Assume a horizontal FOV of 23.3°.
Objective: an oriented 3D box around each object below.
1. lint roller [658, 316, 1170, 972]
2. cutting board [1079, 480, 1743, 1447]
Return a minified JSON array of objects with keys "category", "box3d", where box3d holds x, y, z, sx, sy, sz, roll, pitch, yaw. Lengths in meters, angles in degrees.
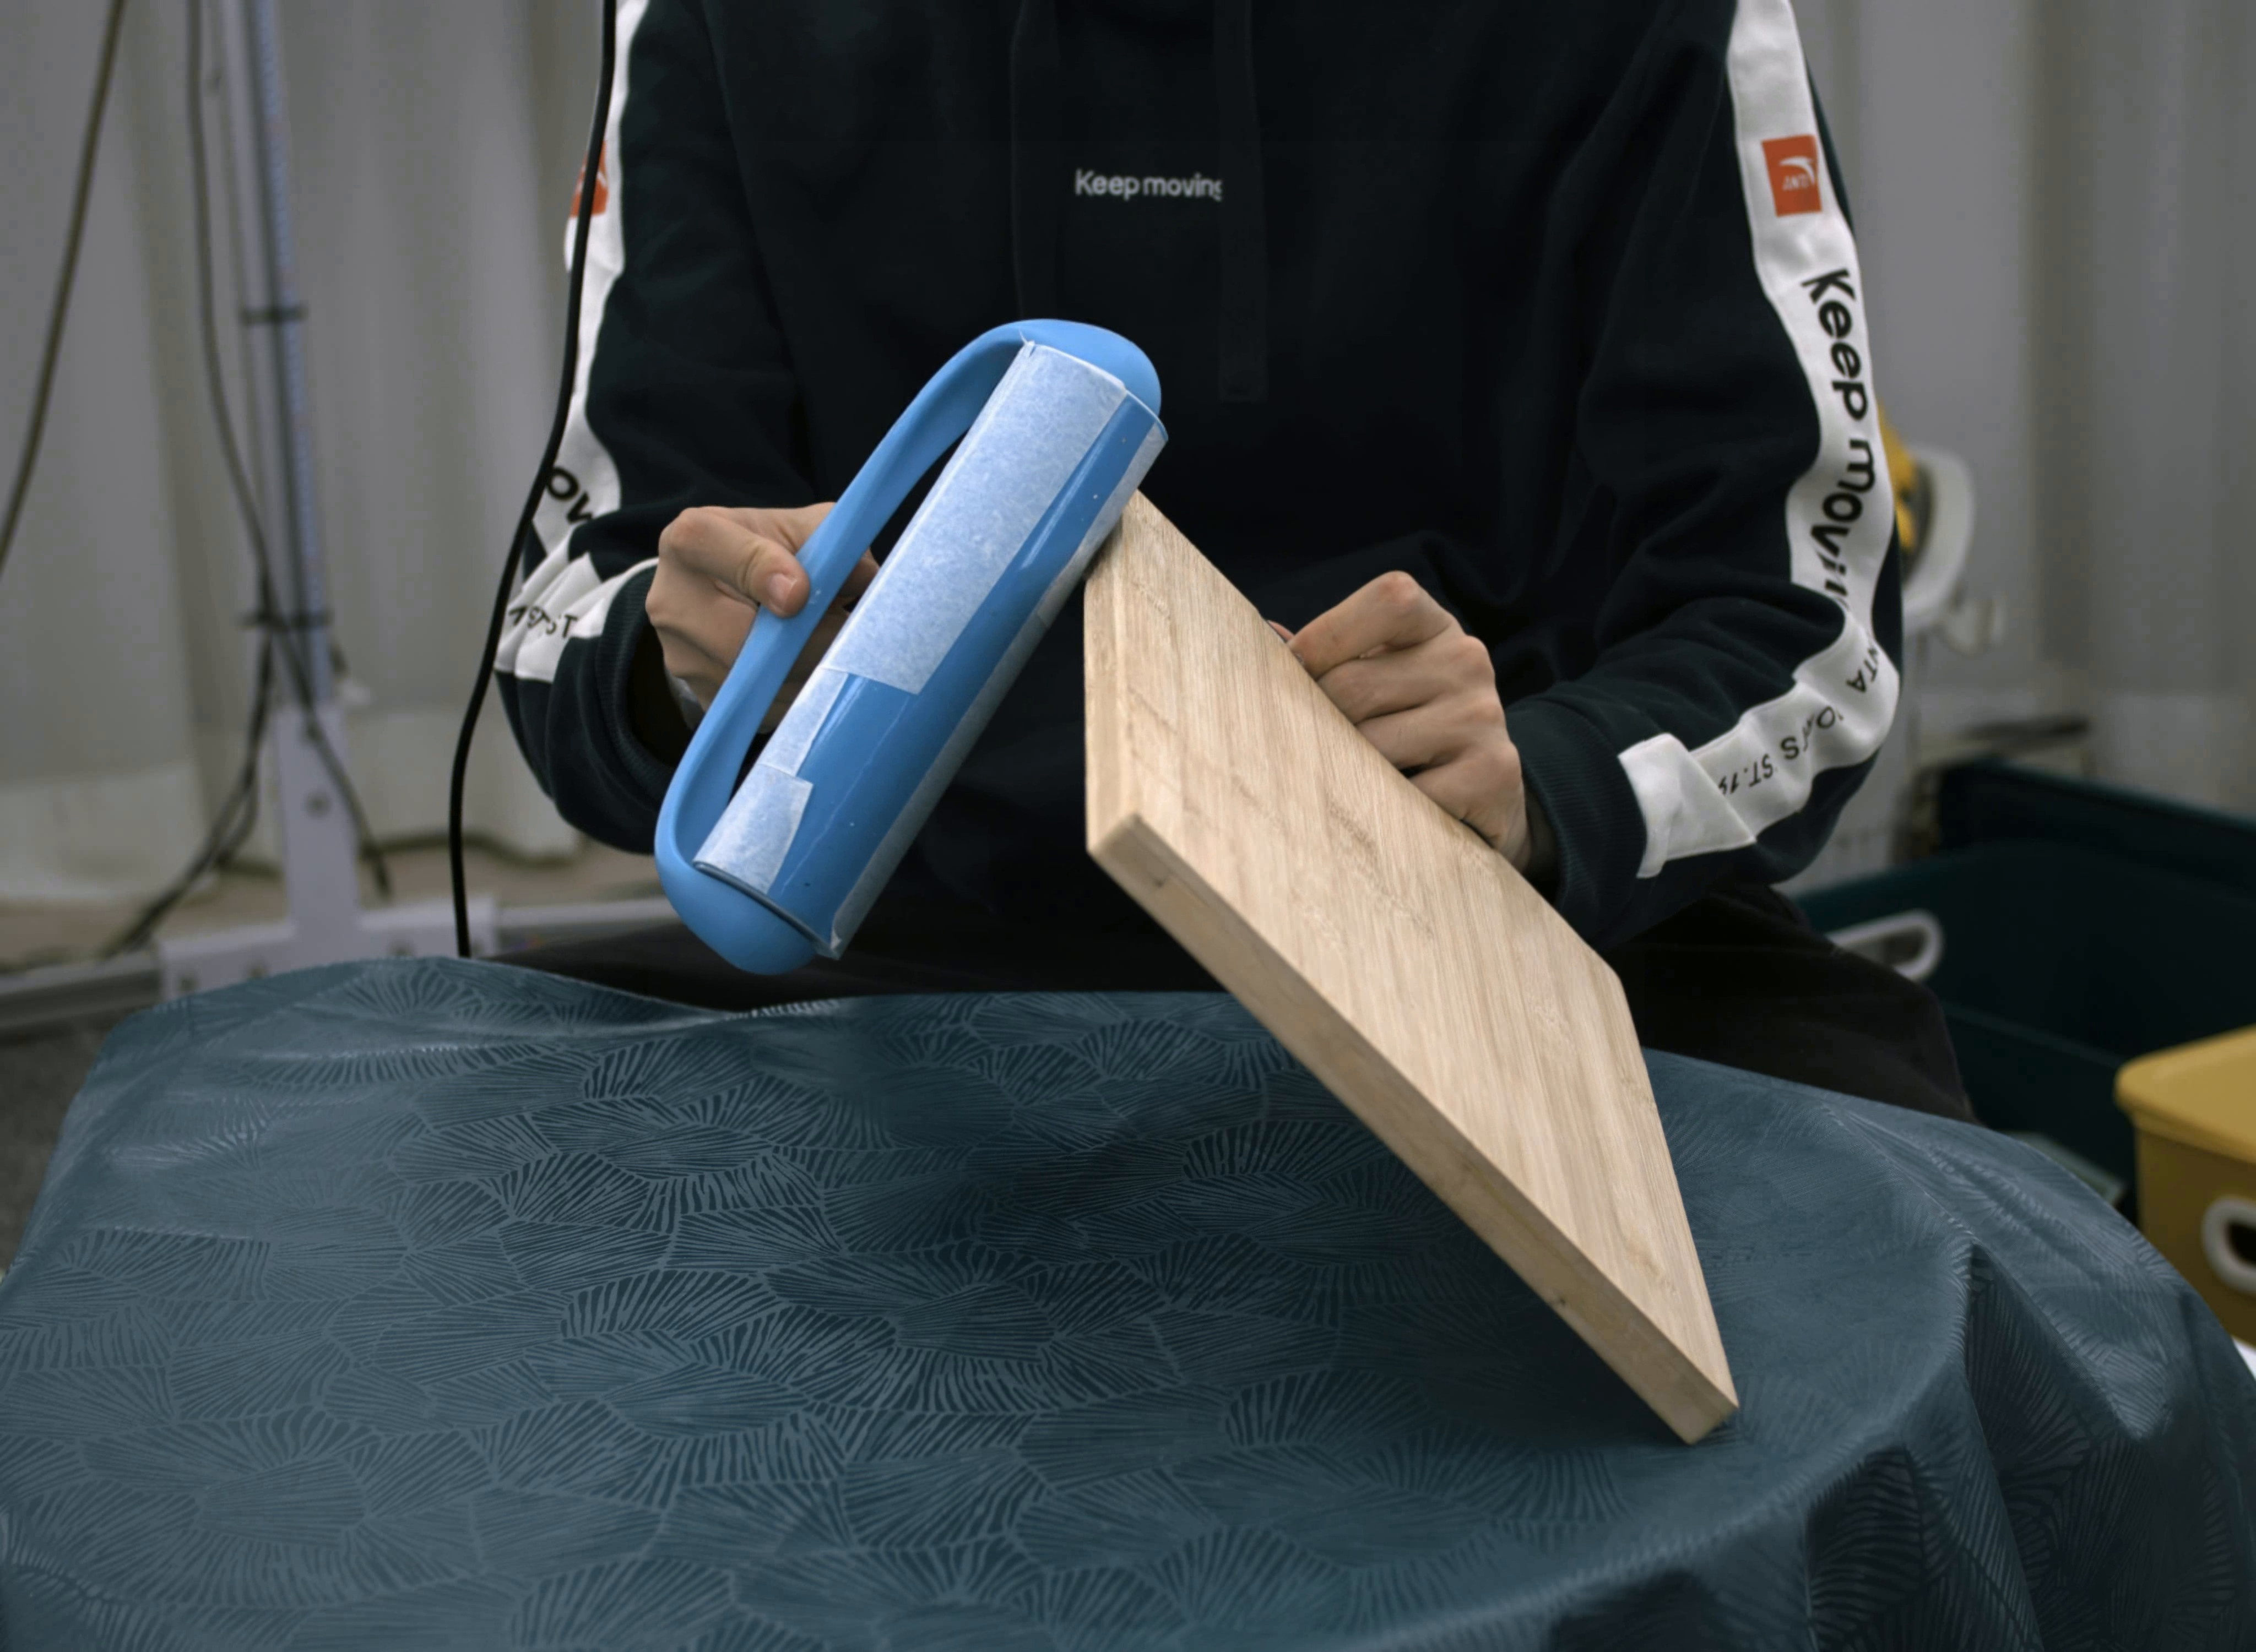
[{"category":"lint roller","box3d":[-0.085,-0.057,1.723,0.067,0.230,0.181,36,-14,-22]},{"category":"cutting board","box3d":[0.075,0.028,1.619,0.023,0.249,0.352,-42,14,12]}]
